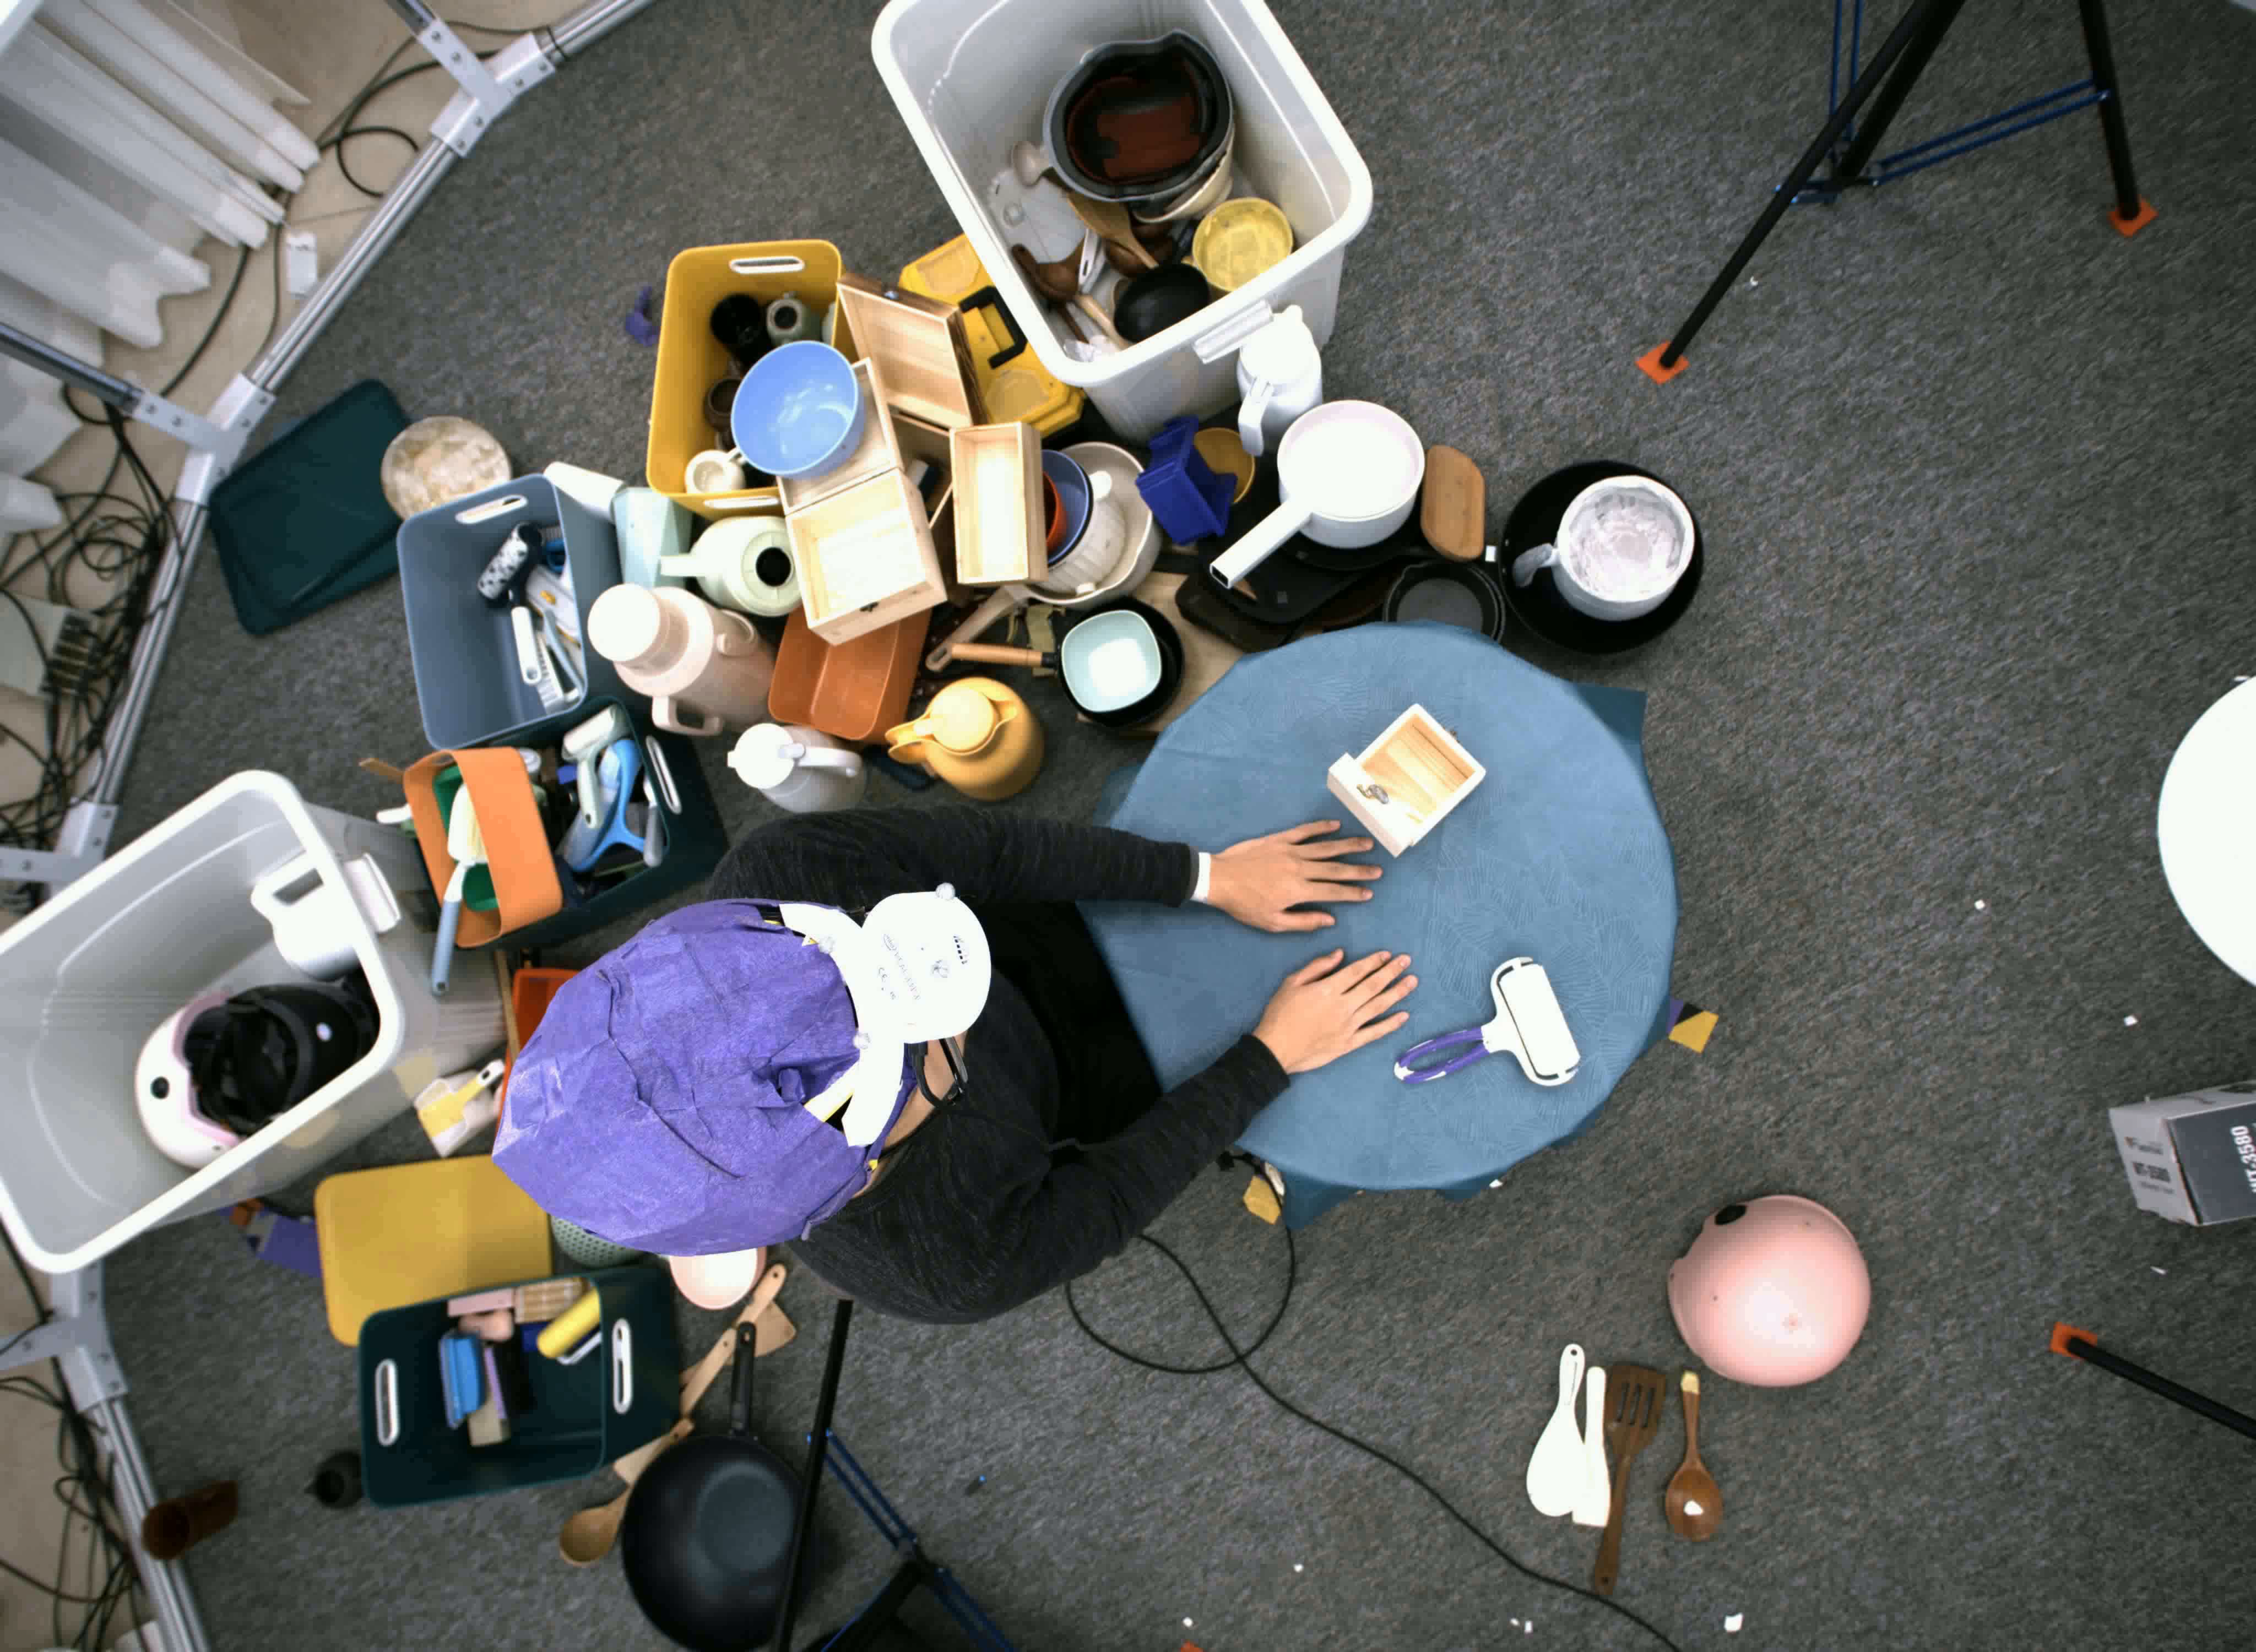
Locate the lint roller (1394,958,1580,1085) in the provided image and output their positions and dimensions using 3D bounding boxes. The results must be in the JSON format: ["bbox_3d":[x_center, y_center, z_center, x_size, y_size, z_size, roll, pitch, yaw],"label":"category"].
[{"bbox_3d":[0.358,0.218,1.412,0.181,0.050,0.132,-21,84,6],"label":"lint roller"}]

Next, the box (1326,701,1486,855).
[{"bbox_3d":[0.279,-0.053,1.372,0.134,0.184,0.102,-44,79,5],"label":"box"}]
